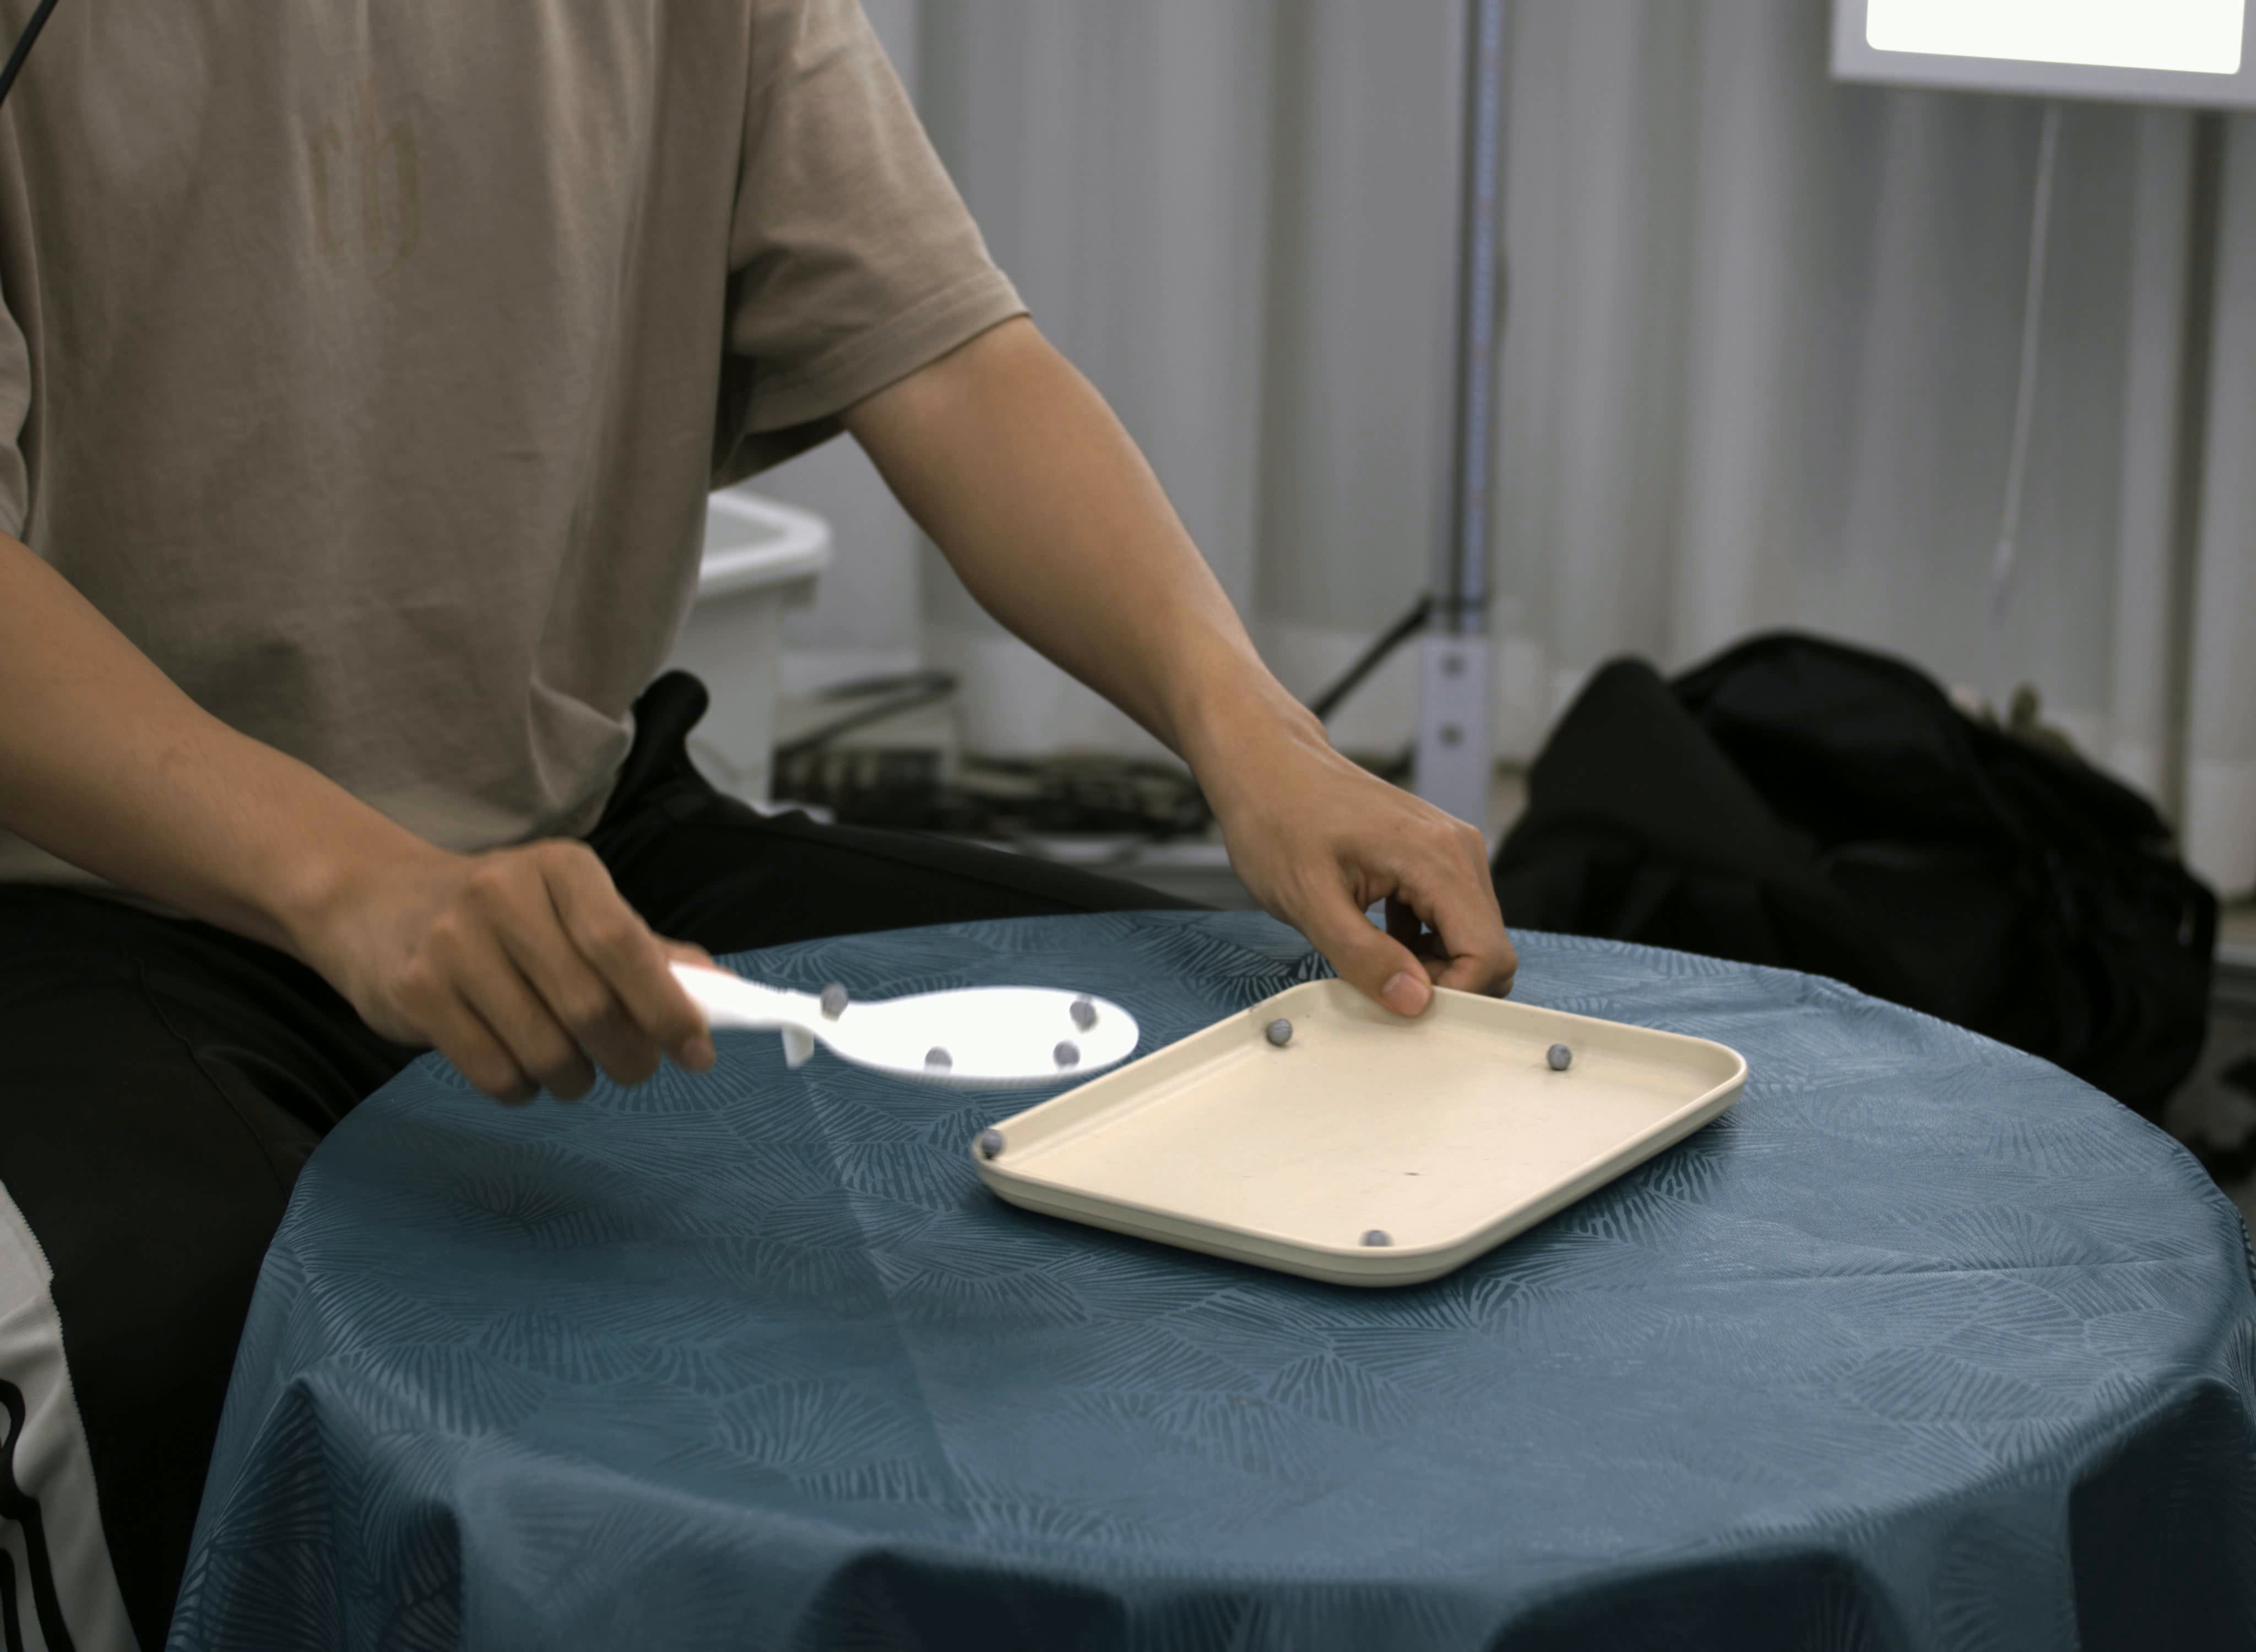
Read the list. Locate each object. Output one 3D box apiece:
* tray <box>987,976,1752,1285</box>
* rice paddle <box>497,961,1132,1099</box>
[{"bbox_3d":[0.079,0.095,1.660,0.169,0.017,0.240,11,18,30],"label":"tray"},{"bbox_3d":[-0.092,0.059,1.538,0.203,0.030,0.069,3,21,27],"label":"rice paddle"}]
